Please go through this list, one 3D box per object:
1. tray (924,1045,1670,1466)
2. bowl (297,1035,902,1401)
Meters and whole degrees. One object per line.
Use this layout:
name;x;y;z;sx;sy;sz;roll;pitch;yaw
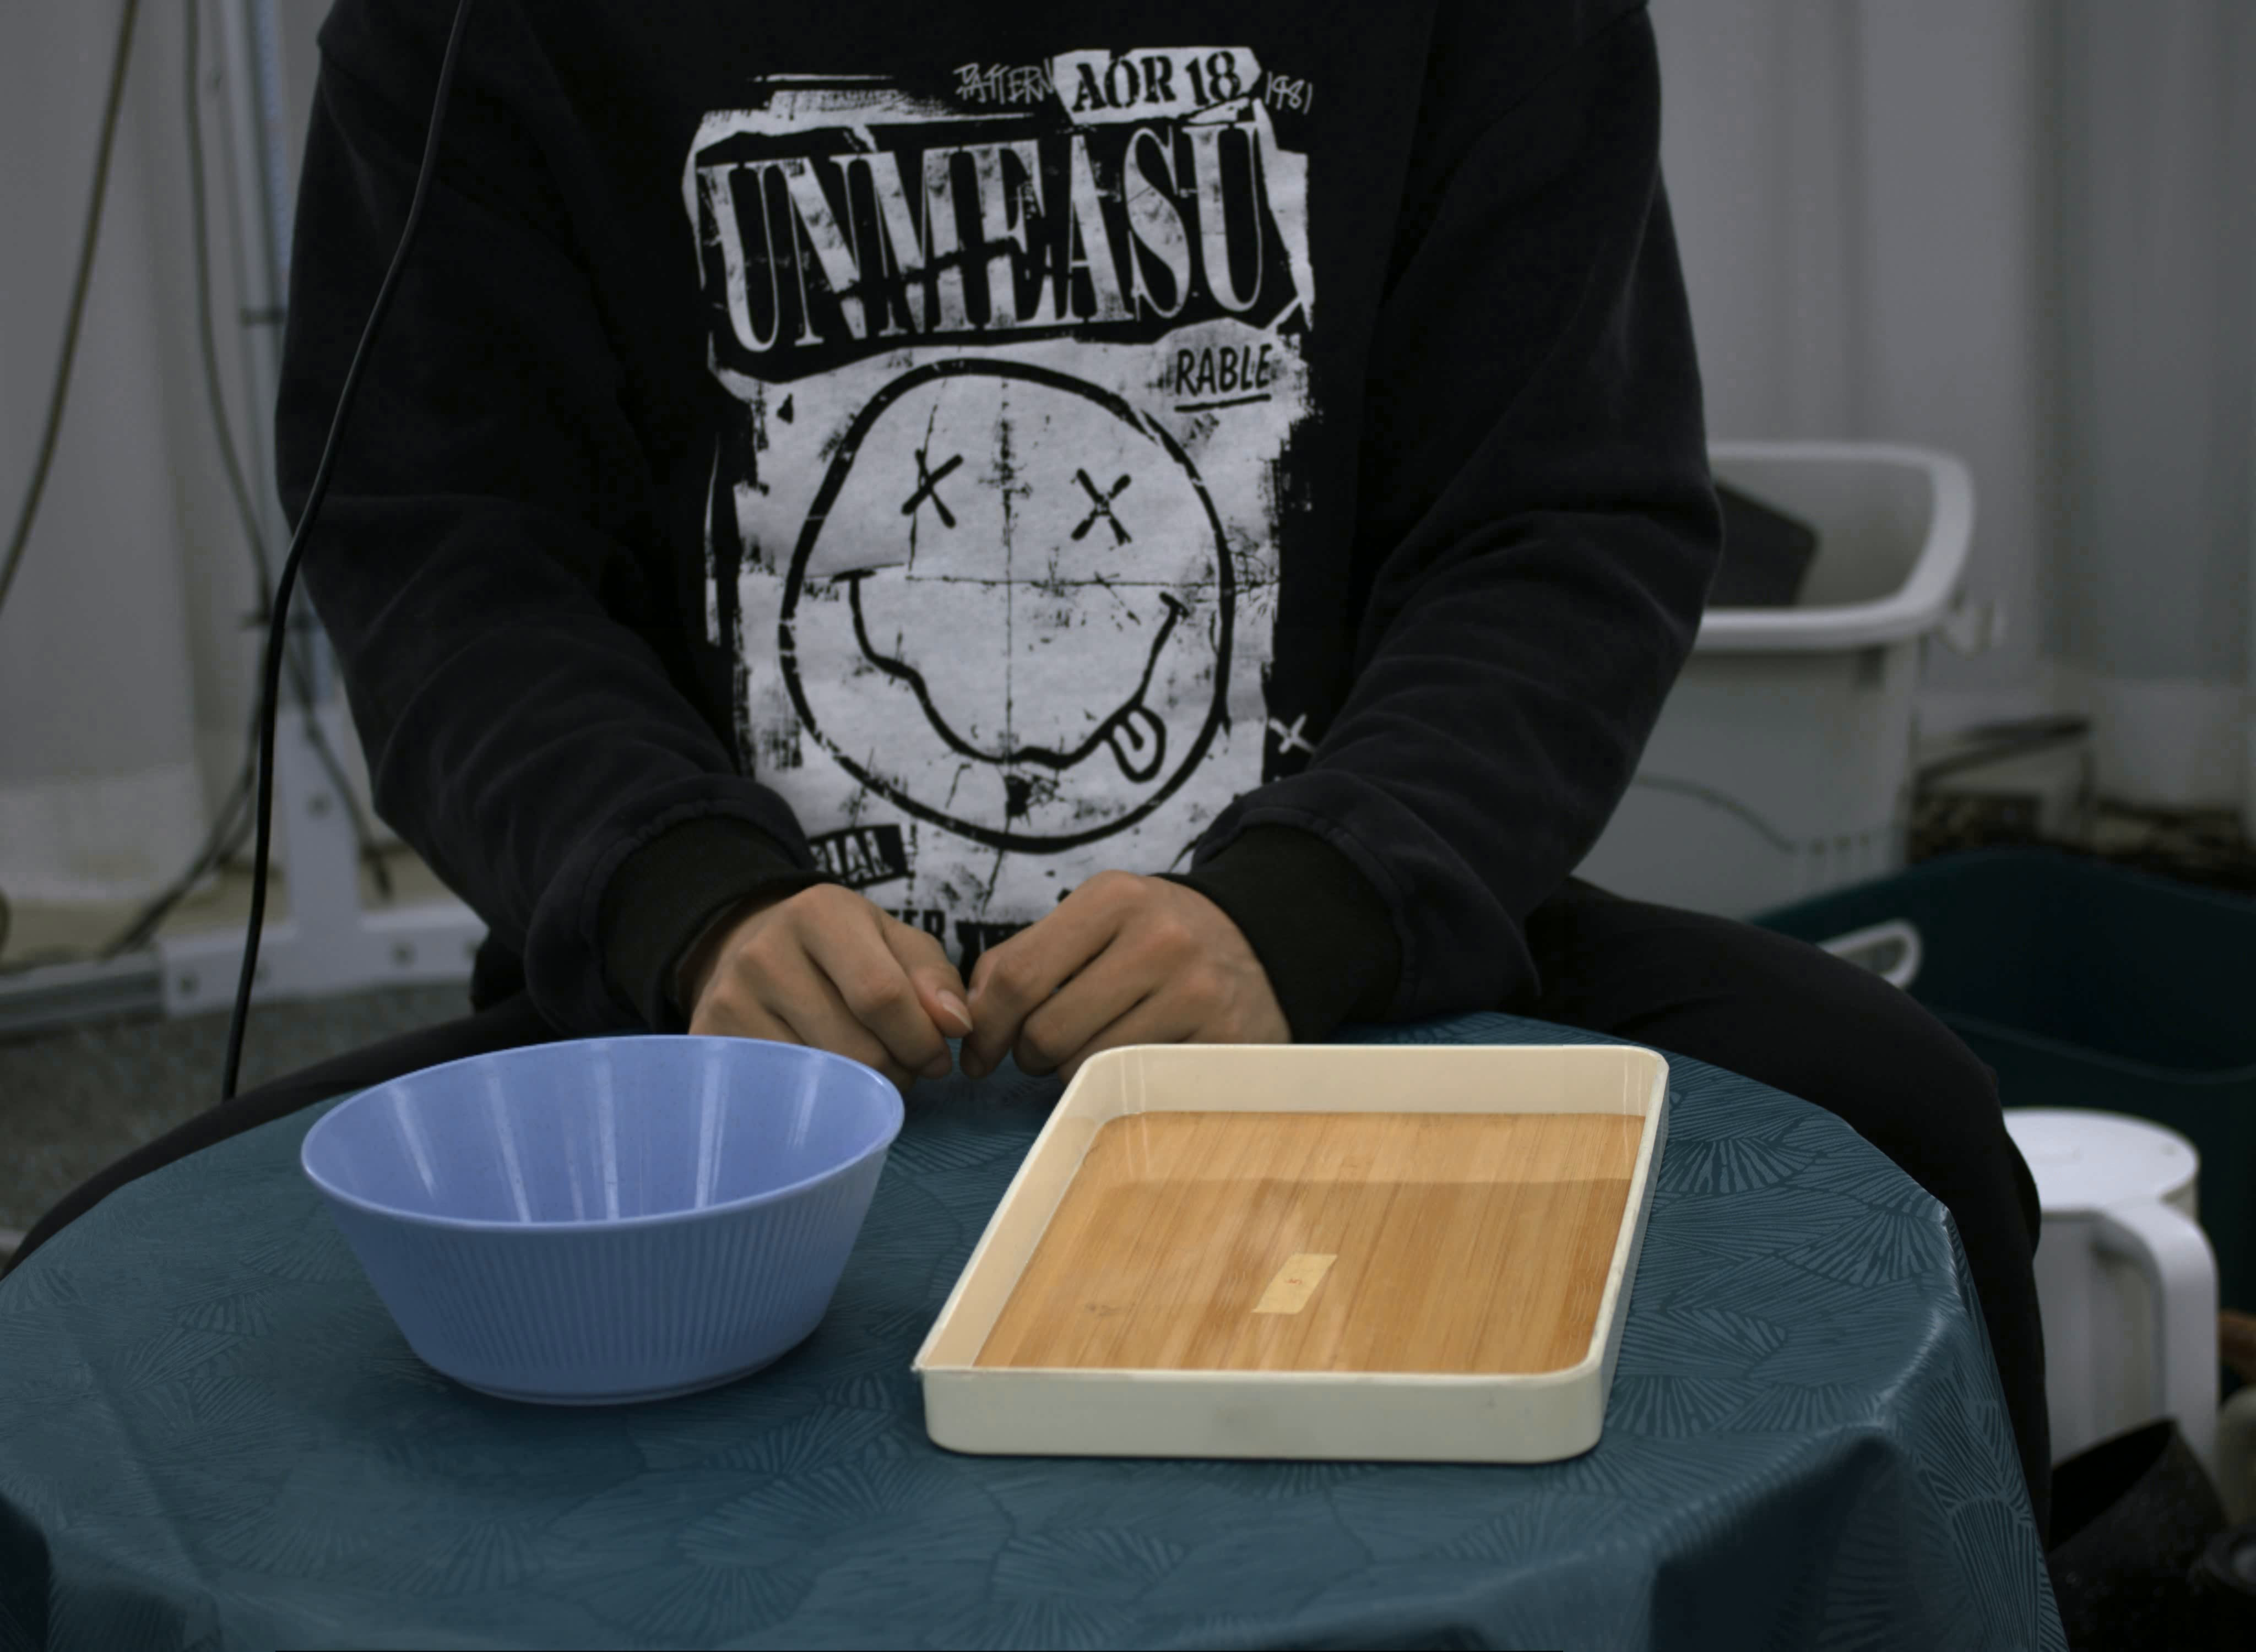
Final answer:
tray;0.058;0.123;1.624;0.191;0.027;0.302;0;15;10
bowl;-0.152;0.117;1.597;0.175;0.070;0.177;-2;15;0
